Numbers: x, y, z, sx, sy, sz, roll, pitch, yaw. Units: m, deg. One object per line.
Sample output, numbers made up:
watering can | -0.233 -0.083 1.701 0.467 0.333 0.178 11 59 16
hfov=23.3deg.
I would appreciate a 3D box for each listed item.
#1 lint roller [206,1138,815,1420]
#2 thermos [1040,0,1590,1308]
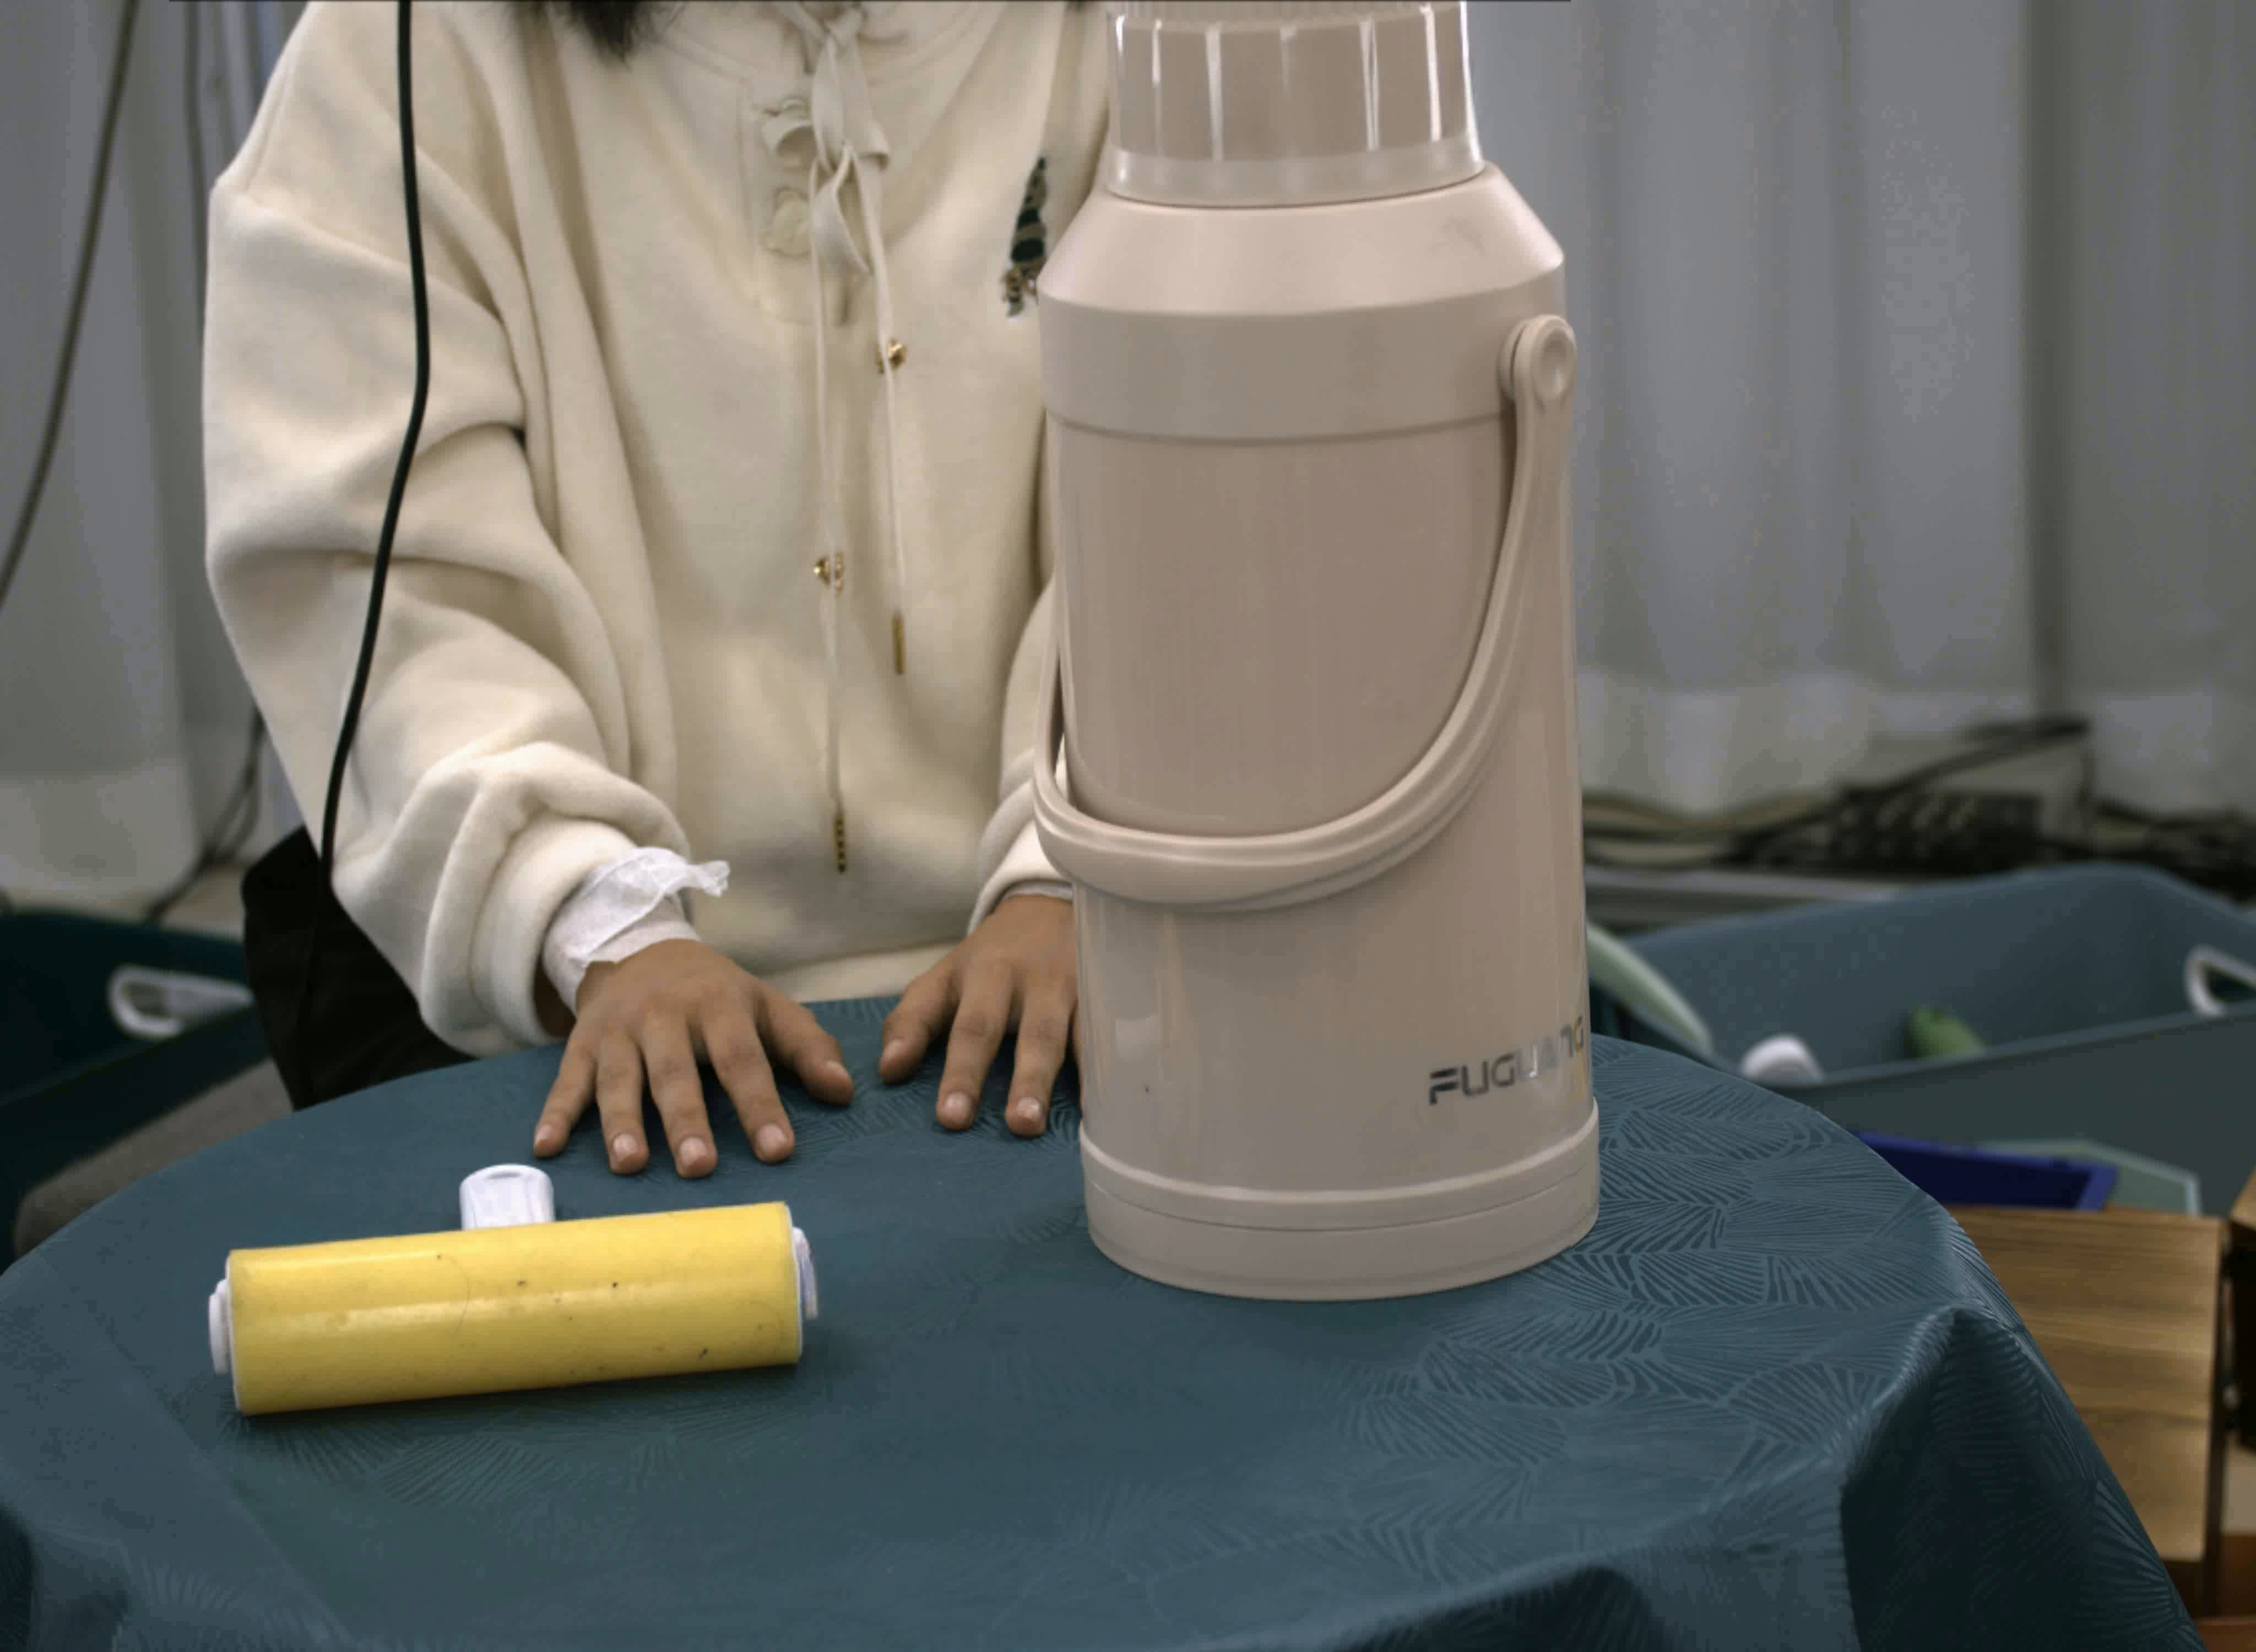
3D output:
lint roller | -0.188 0.117 1.636 0.173 0.051 0.194 -5 21 -8
thermos | 0.065 -0.074 1.644 0.176 0.405 0.207 6 16 36
